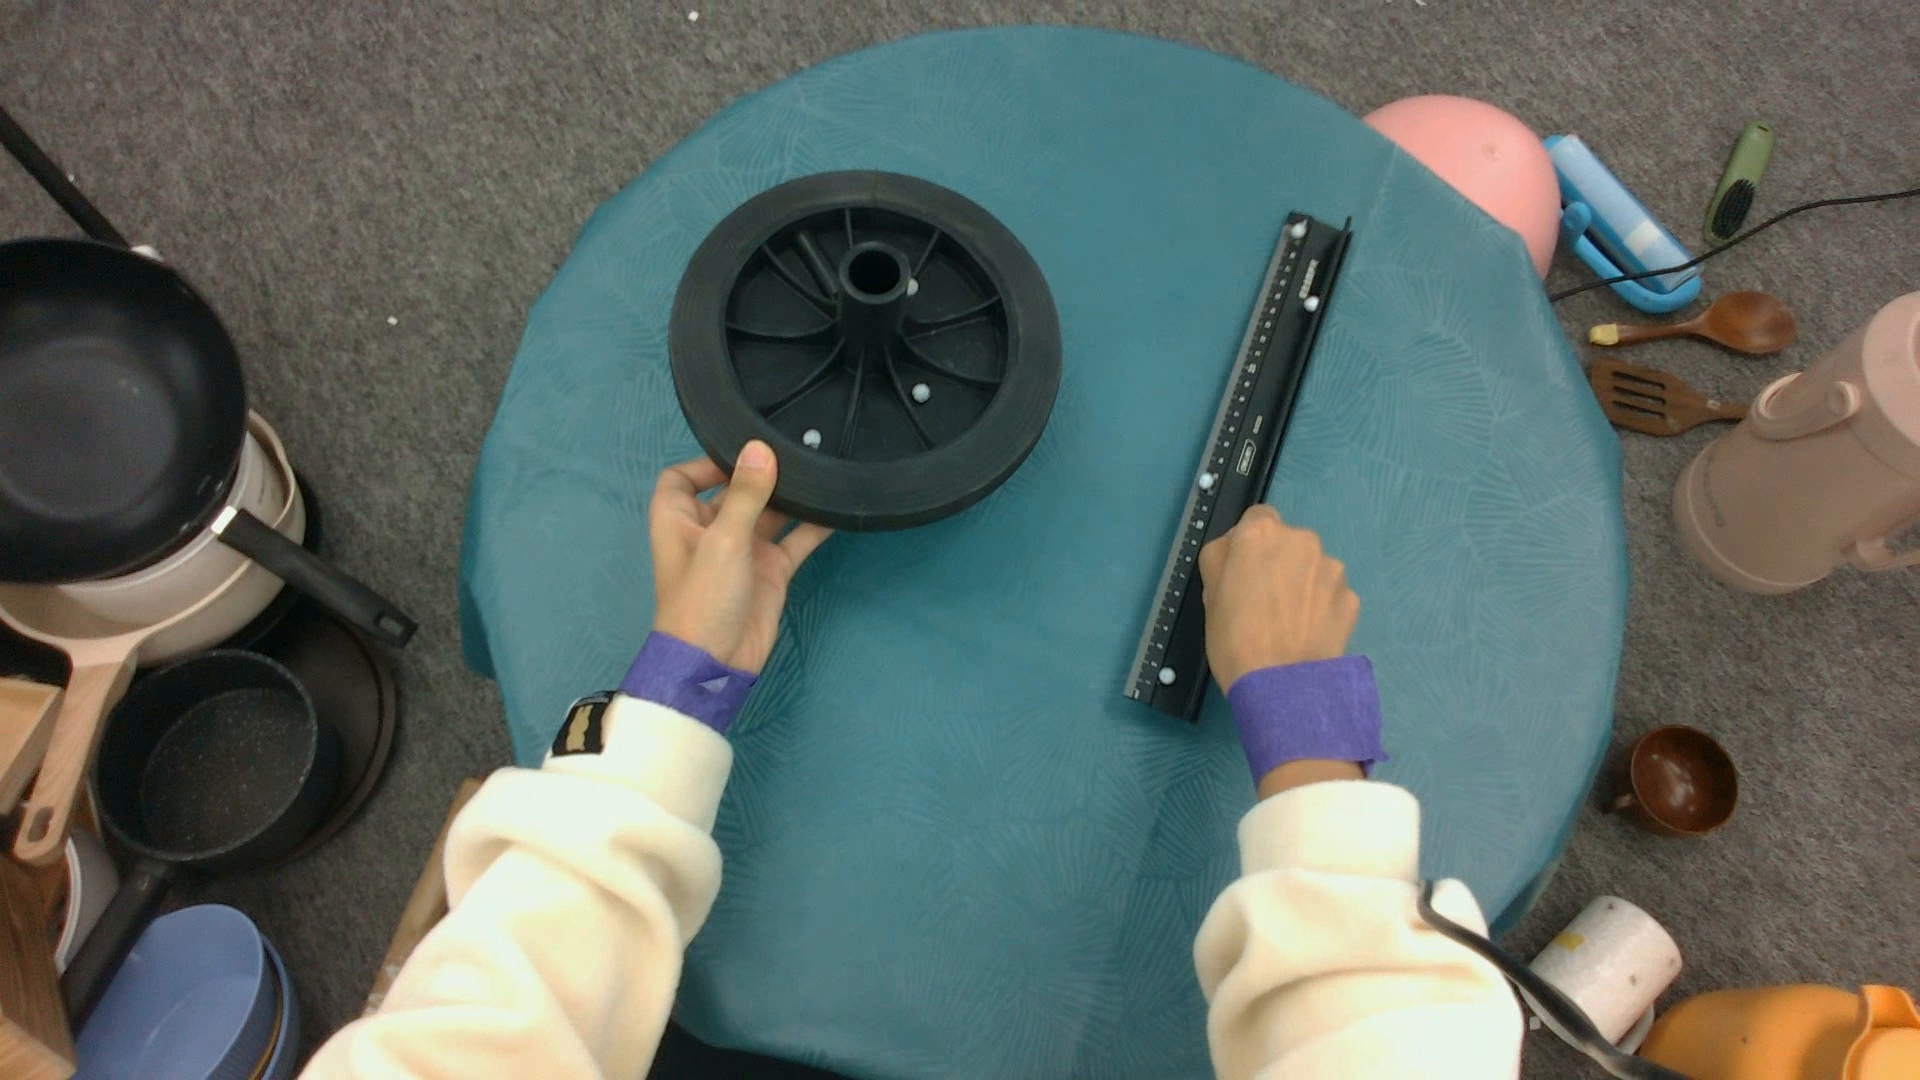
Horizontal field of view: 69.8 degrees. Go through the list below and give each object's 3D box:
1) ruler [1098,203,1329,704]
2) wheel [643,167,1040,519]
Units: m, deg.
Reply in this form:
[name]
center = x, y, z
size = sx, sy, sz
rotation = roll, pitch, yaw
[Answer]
[ruler]
center = 0.139, -0.061, 0.720
size = 0.039, 0.017, 0.314
rotation = 21, 65, 5
[wheel]
center = -0.053, -0.107, 0.644
size = 0.190, 0.079, 0.188
rotation = 36, 68, 8
